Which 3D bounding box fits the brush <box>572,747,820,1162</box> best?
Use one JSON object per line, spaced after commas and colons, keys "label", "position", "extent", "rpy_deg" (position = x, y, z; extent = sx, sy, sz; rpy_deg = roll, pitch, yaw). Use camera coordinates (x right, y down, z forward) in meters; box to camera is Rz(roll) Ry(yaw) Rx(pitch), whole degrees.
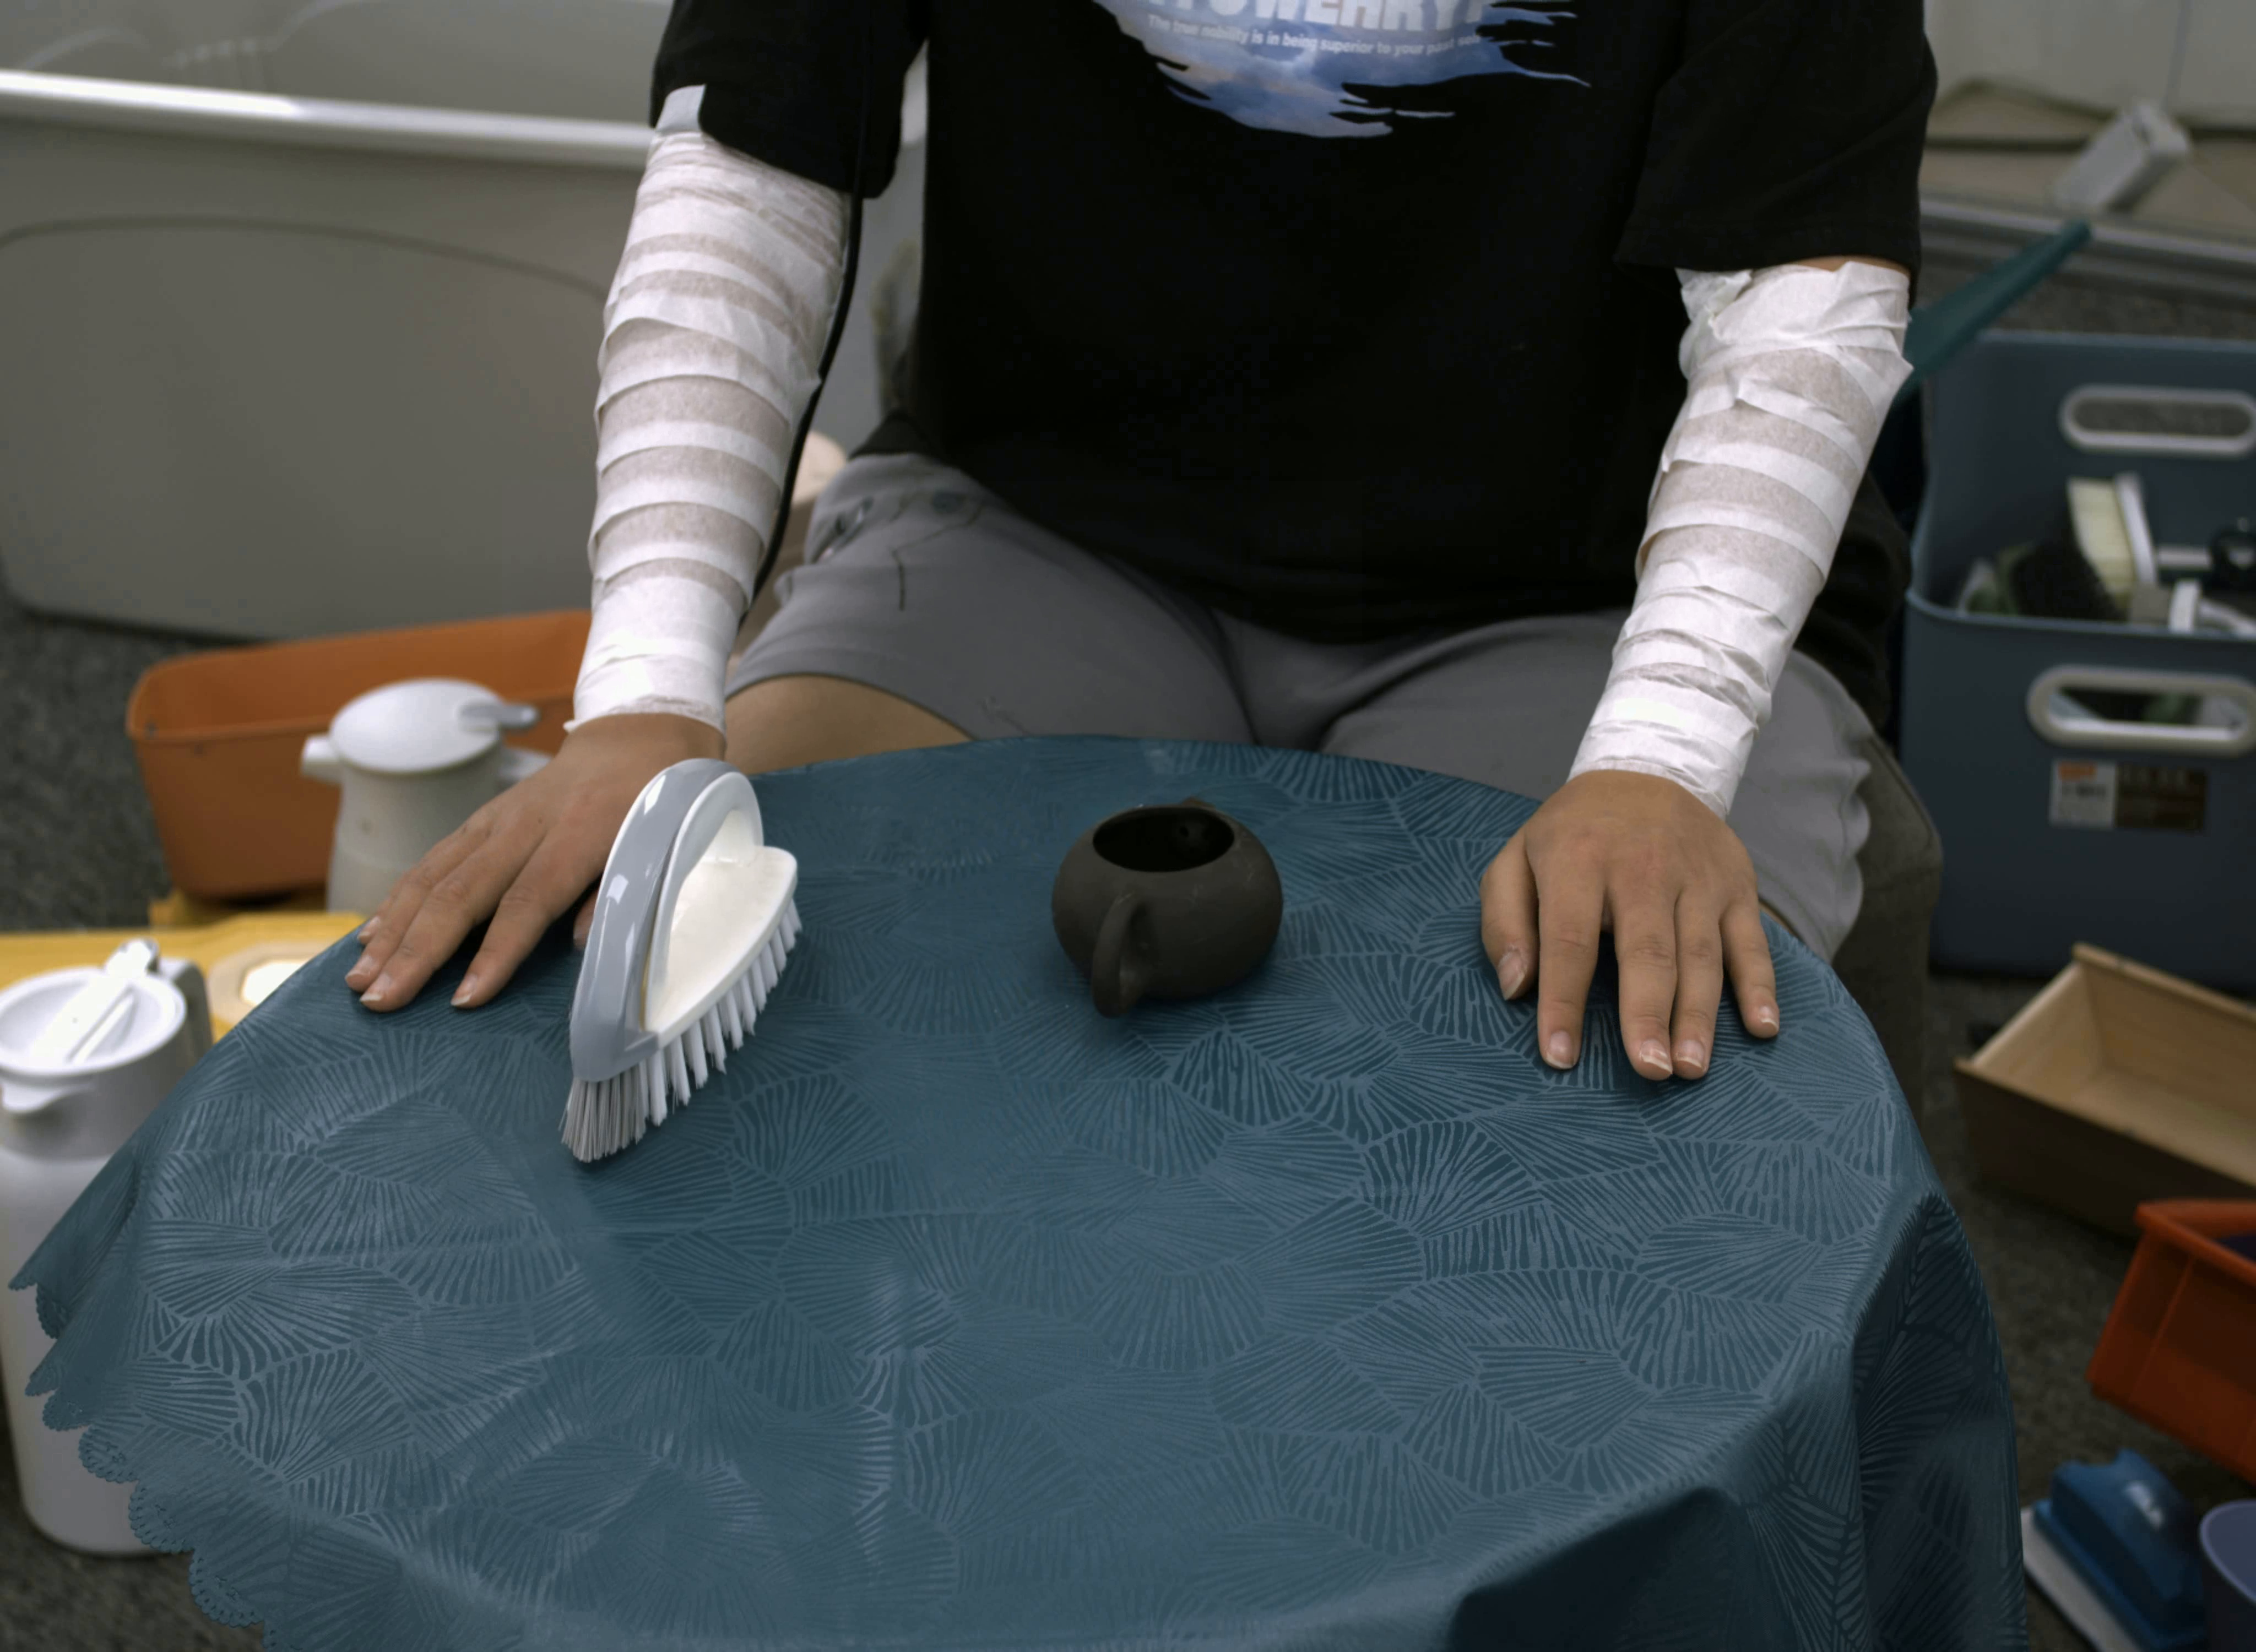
{"label": "brush", "position": [-0.159, 0.037, 1.944], "extent": [0.061, 0.093, 0.178], "rpy_deg": [1, 28, 15]}

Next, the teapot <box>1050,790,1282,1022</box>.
{"label": "teapot", "position": [0.009, 0.032, 1.981], "extent": [0.082, 0.052, 0.116], "rpy_deg": [7, 27, 19]}
